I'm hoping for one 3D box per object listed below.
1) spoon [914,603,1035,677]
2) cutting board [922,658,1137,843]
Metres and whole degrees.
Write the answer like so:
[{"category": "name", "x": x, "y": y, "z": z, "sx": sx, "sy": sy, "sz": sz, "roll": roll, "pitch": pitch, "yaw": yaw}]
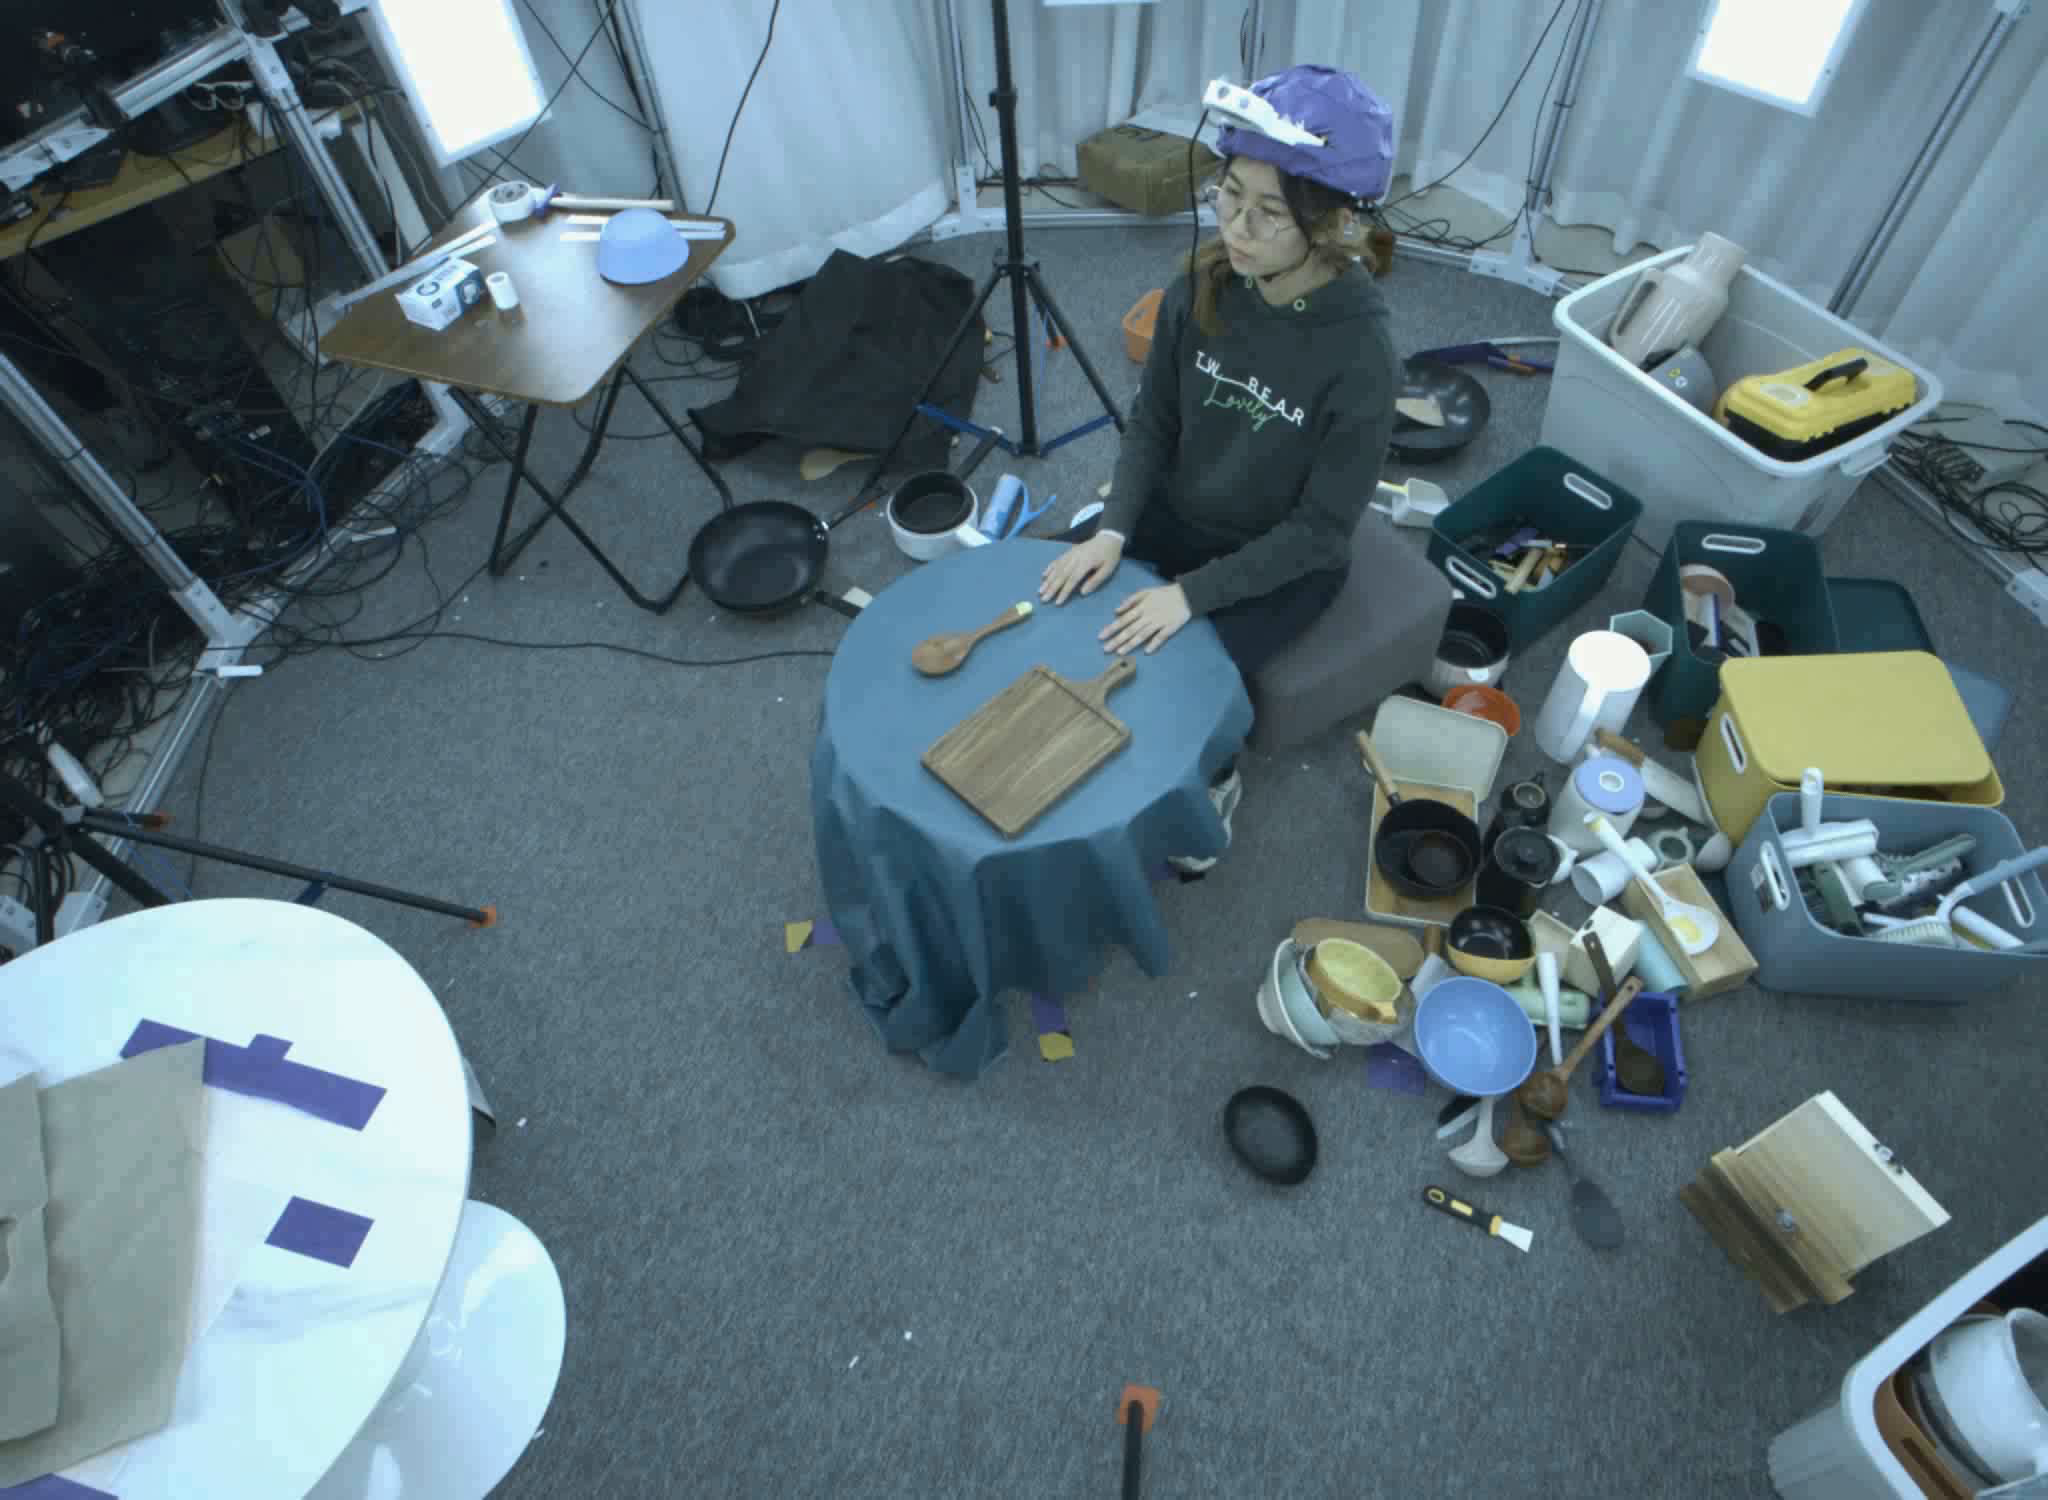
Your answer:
[{"category": "spoon", "x": -0.075, "y": -0.173, "z": 1.910, "sx": 0.217, "sy": 0.017, "sz": 0.074, "roll": -31, "pitch": 58, "yaw": -18}, {"category": "cutting board", "x": 0.041, "y": -0.027, "z": 1.805, "sx": 0.354, "sy": 0.023, "sz": 0.197, "roll": -39, "pitch": 62, "yaw": -23}]
